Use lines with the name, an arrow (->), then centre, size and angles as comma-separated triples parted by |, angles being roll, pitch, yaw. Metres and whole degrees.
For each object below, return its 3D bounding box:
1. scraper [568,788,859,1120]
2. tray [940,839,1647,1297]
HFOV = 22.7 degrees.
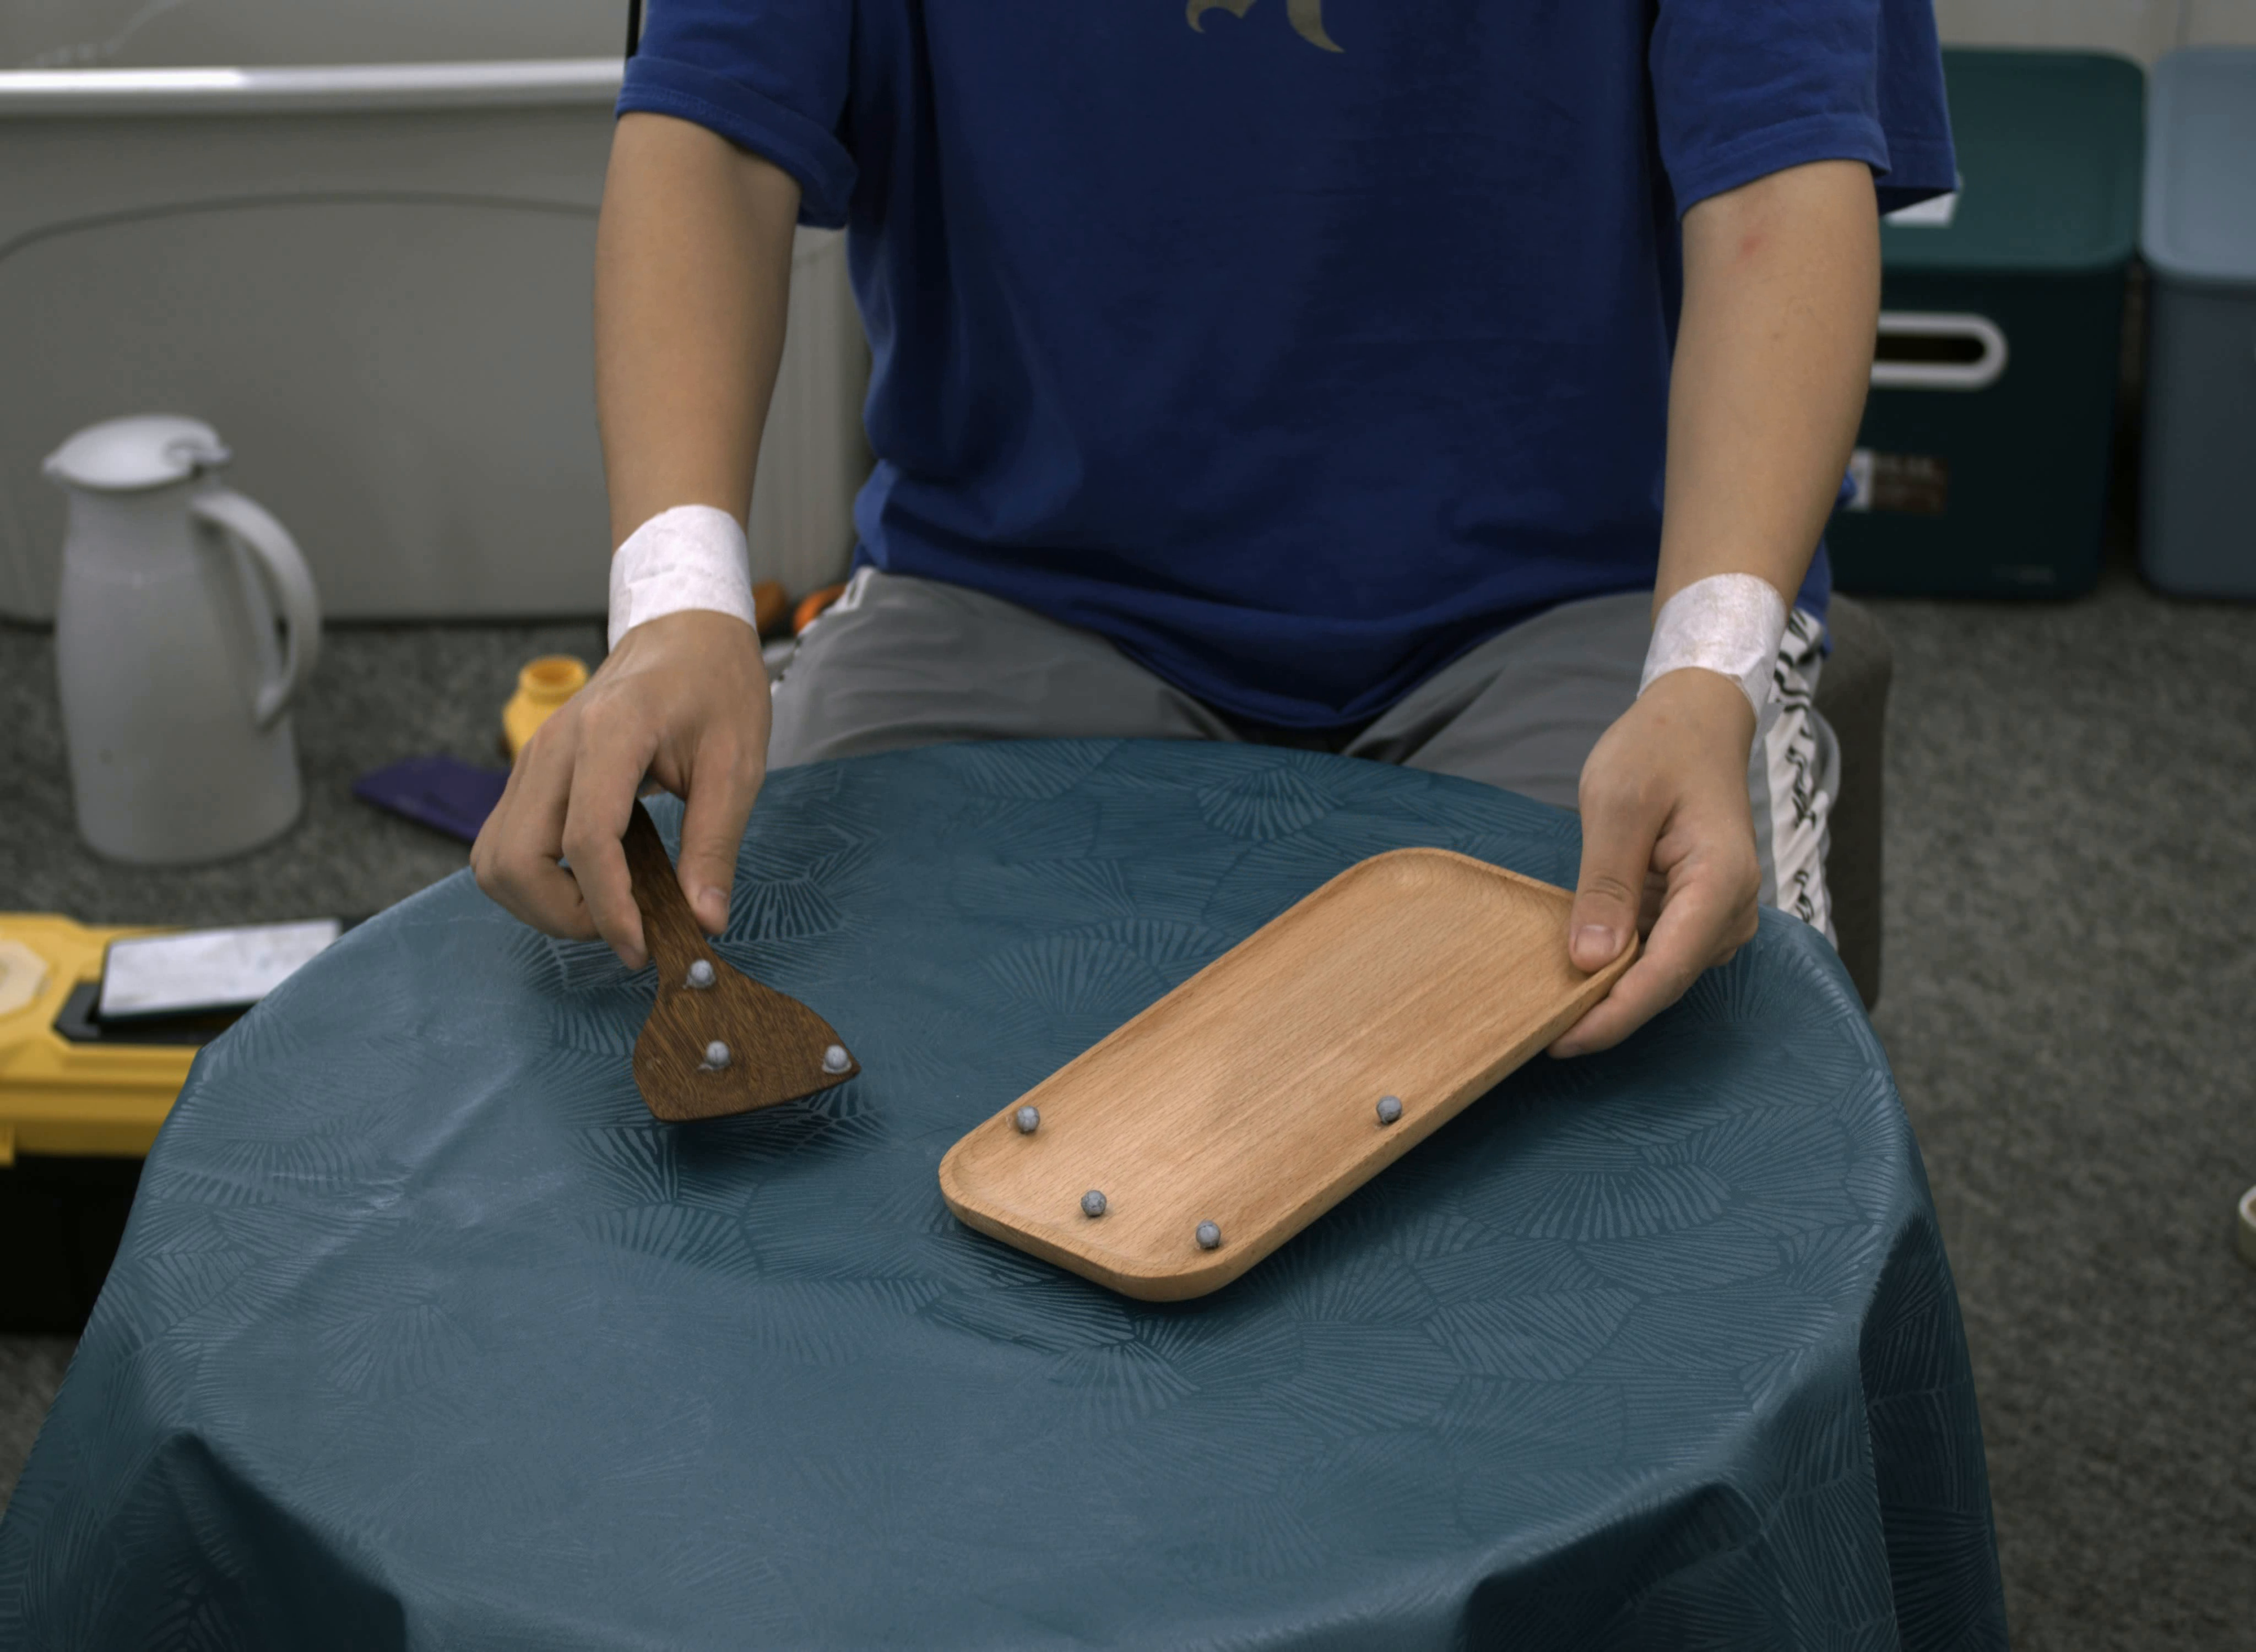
scraper -> -0.157, 0.043, 1.963 | 0.076, 0.010, 0.213 | -12, 34, -16
tray -> 0.058, 0.079, 1.885 | 0.130, 0.022, 0.254 | 22, 42, 40
